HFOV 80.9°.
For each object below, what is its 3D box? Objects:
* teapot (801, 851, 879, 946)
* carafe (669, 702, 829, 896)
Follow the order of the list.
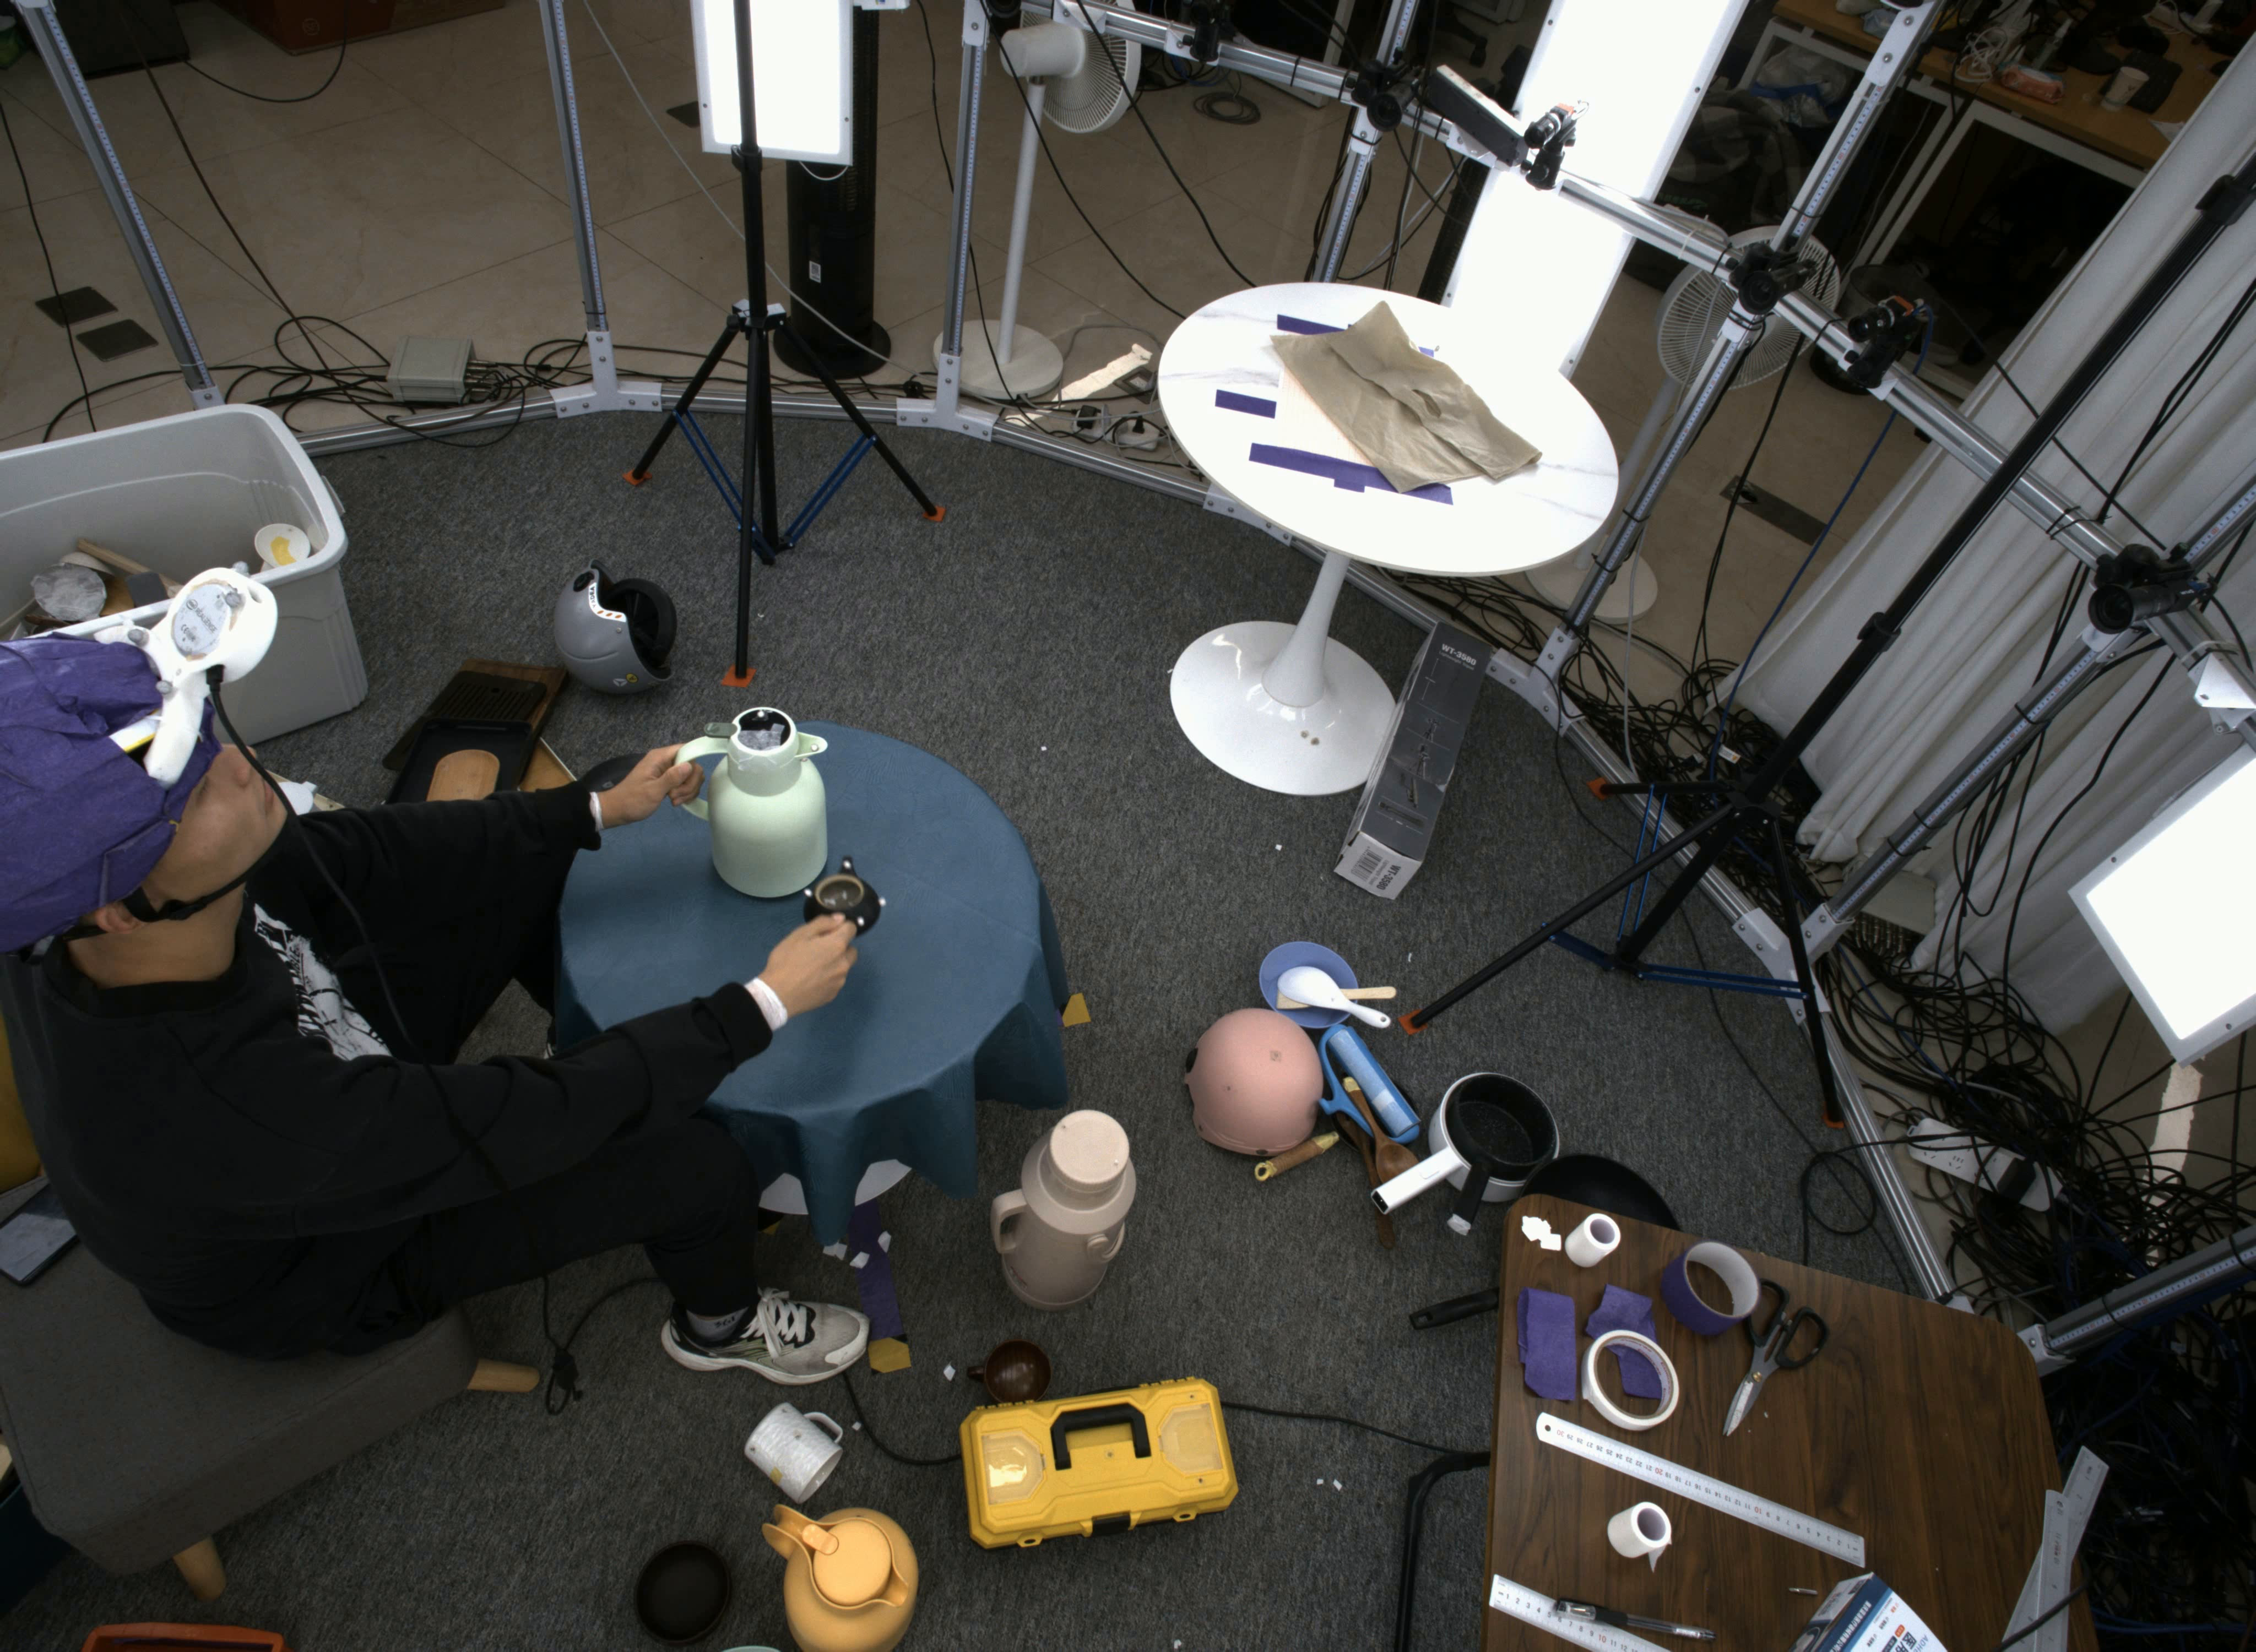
[{"bbox_3d":[-0.340,0.089,1.528,0.090,0.055,0.130,-1,41,-4],"label":"teapot"},{"bbox_3d":[-0.458,-0.039,1.580,0.186,0.263,0.141,-3,55,-10],"label":"carafe"}]
